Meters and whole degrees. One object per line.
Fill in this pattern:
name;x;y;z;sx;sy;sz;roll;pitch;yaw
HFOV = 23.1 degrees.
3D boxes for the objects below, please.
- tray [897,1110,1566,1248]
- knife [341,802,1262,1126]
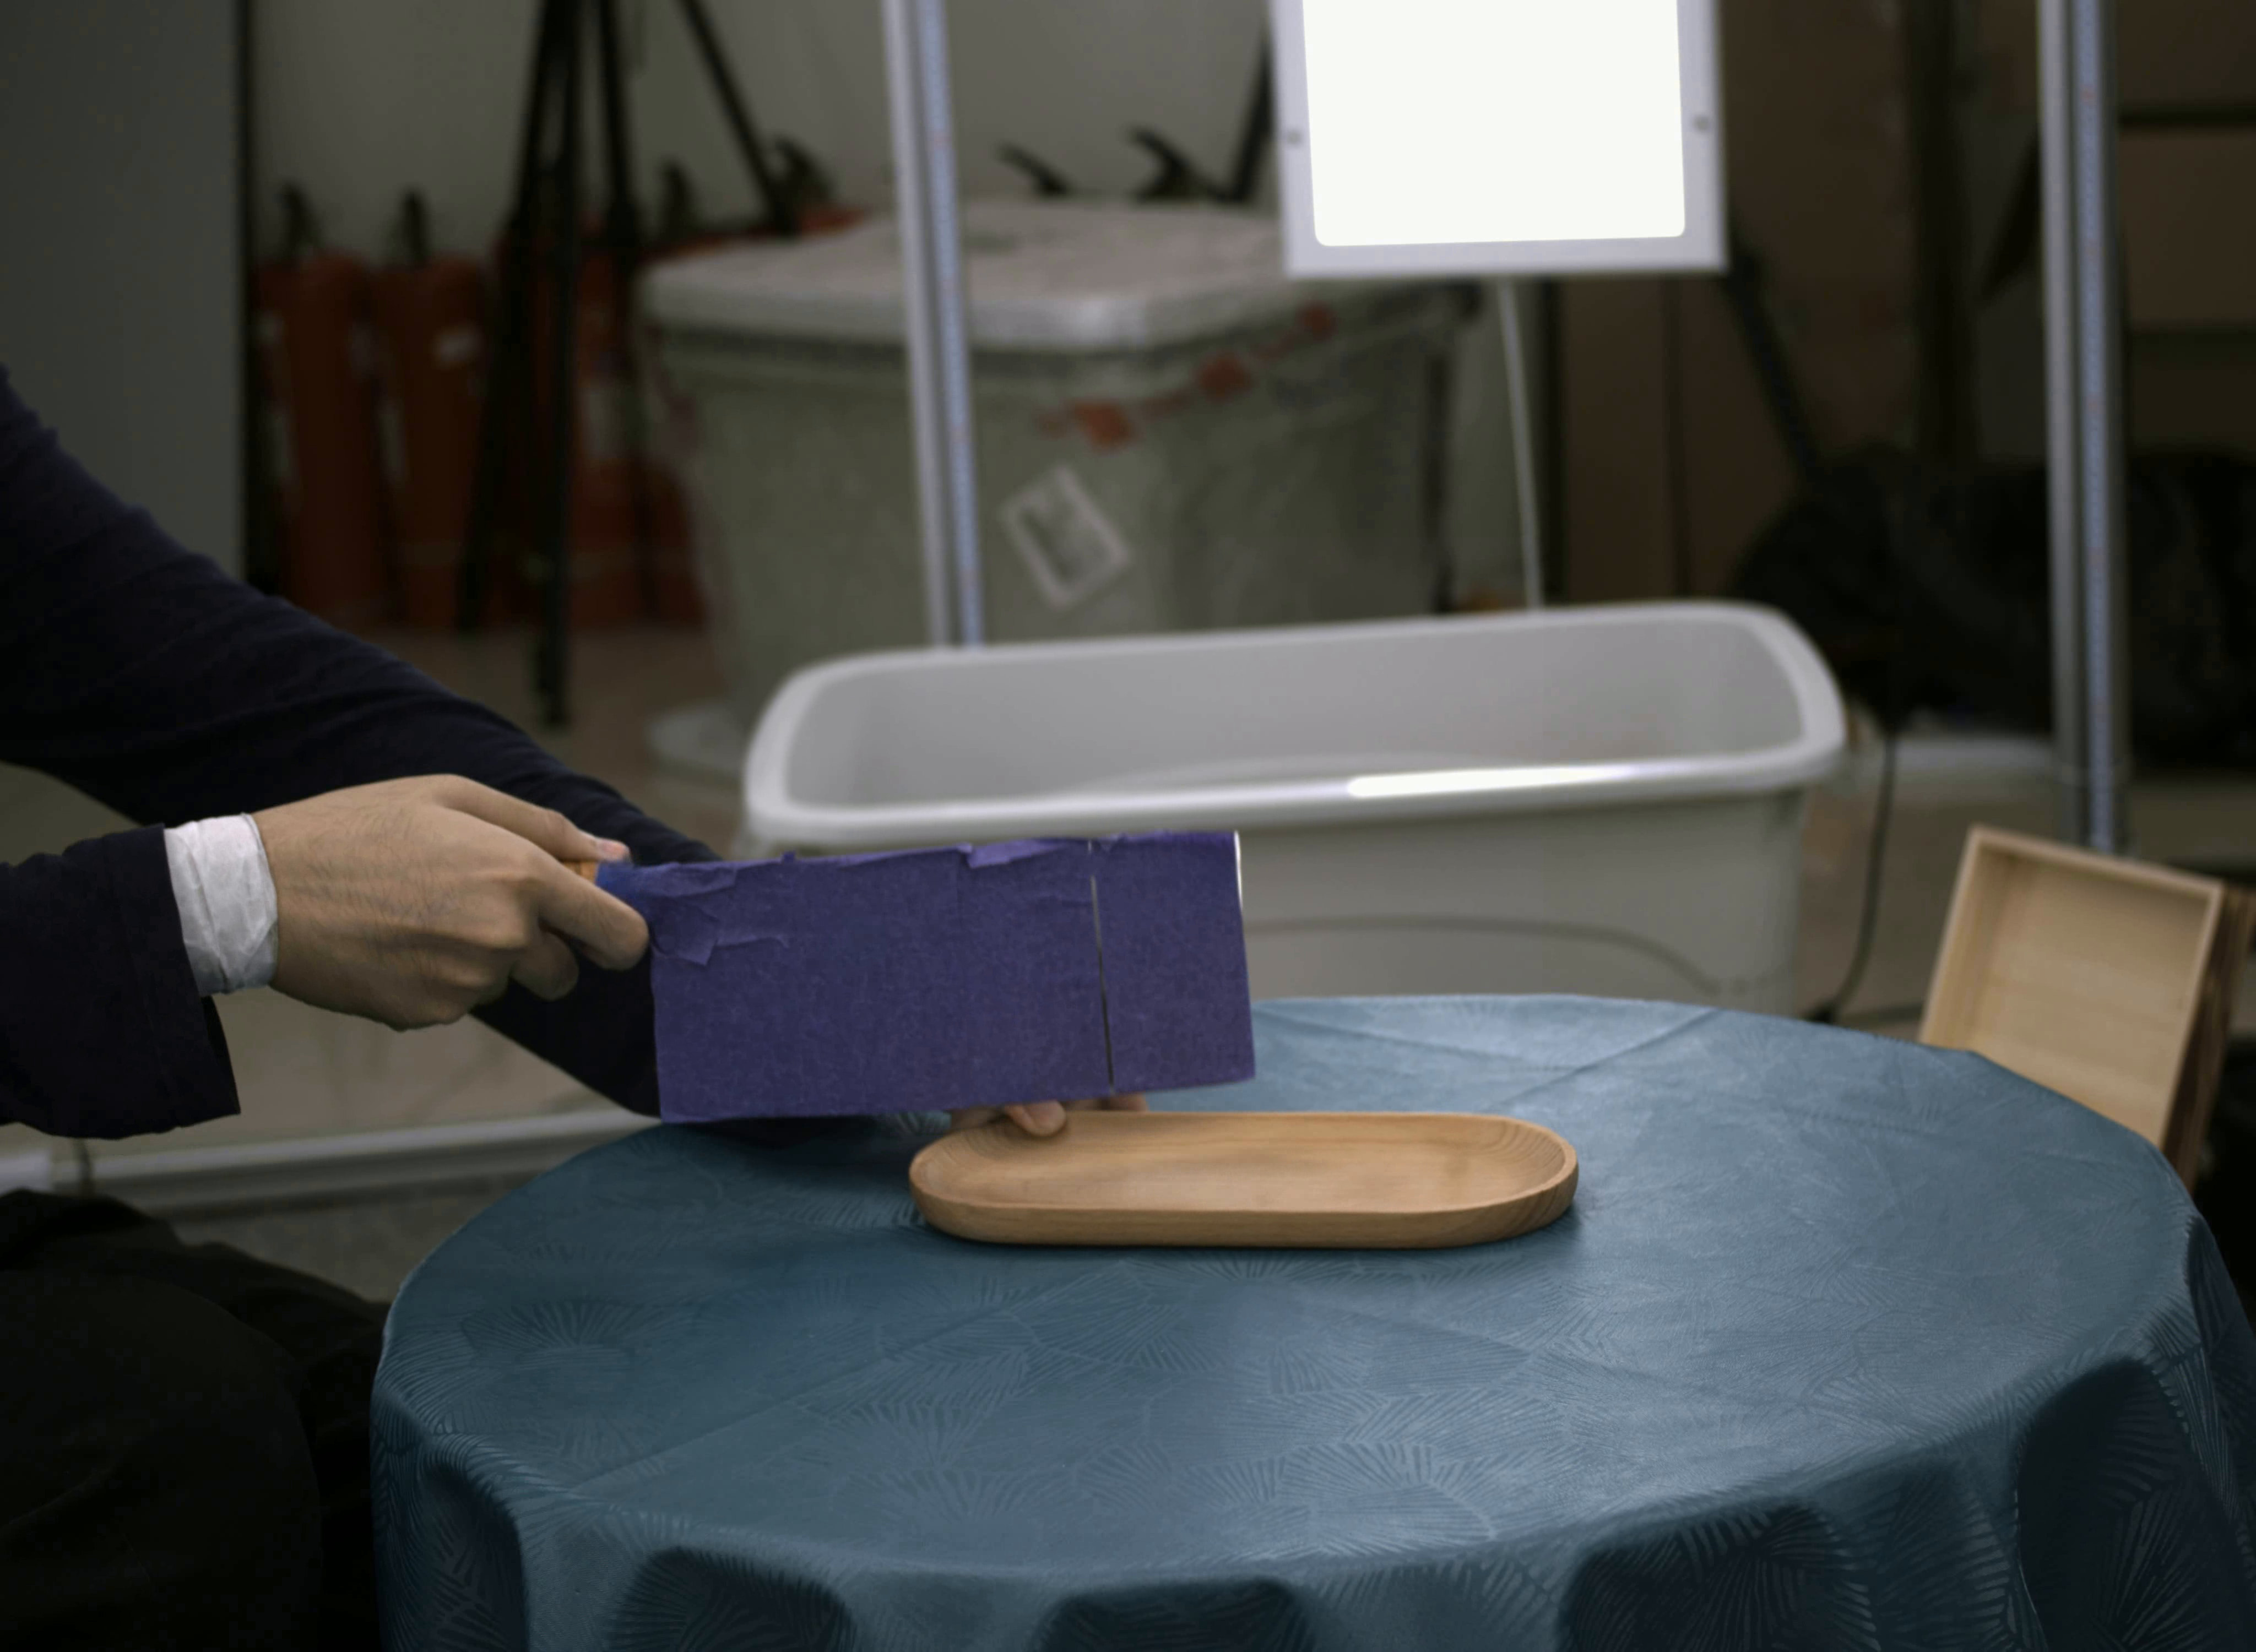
tray;0.035;0.121;1.873;0.233;0.020;0.100;-3;15;15
knife;-0.110;0.055;1.891;0.314;0.104;0.032;-4;5;-1
